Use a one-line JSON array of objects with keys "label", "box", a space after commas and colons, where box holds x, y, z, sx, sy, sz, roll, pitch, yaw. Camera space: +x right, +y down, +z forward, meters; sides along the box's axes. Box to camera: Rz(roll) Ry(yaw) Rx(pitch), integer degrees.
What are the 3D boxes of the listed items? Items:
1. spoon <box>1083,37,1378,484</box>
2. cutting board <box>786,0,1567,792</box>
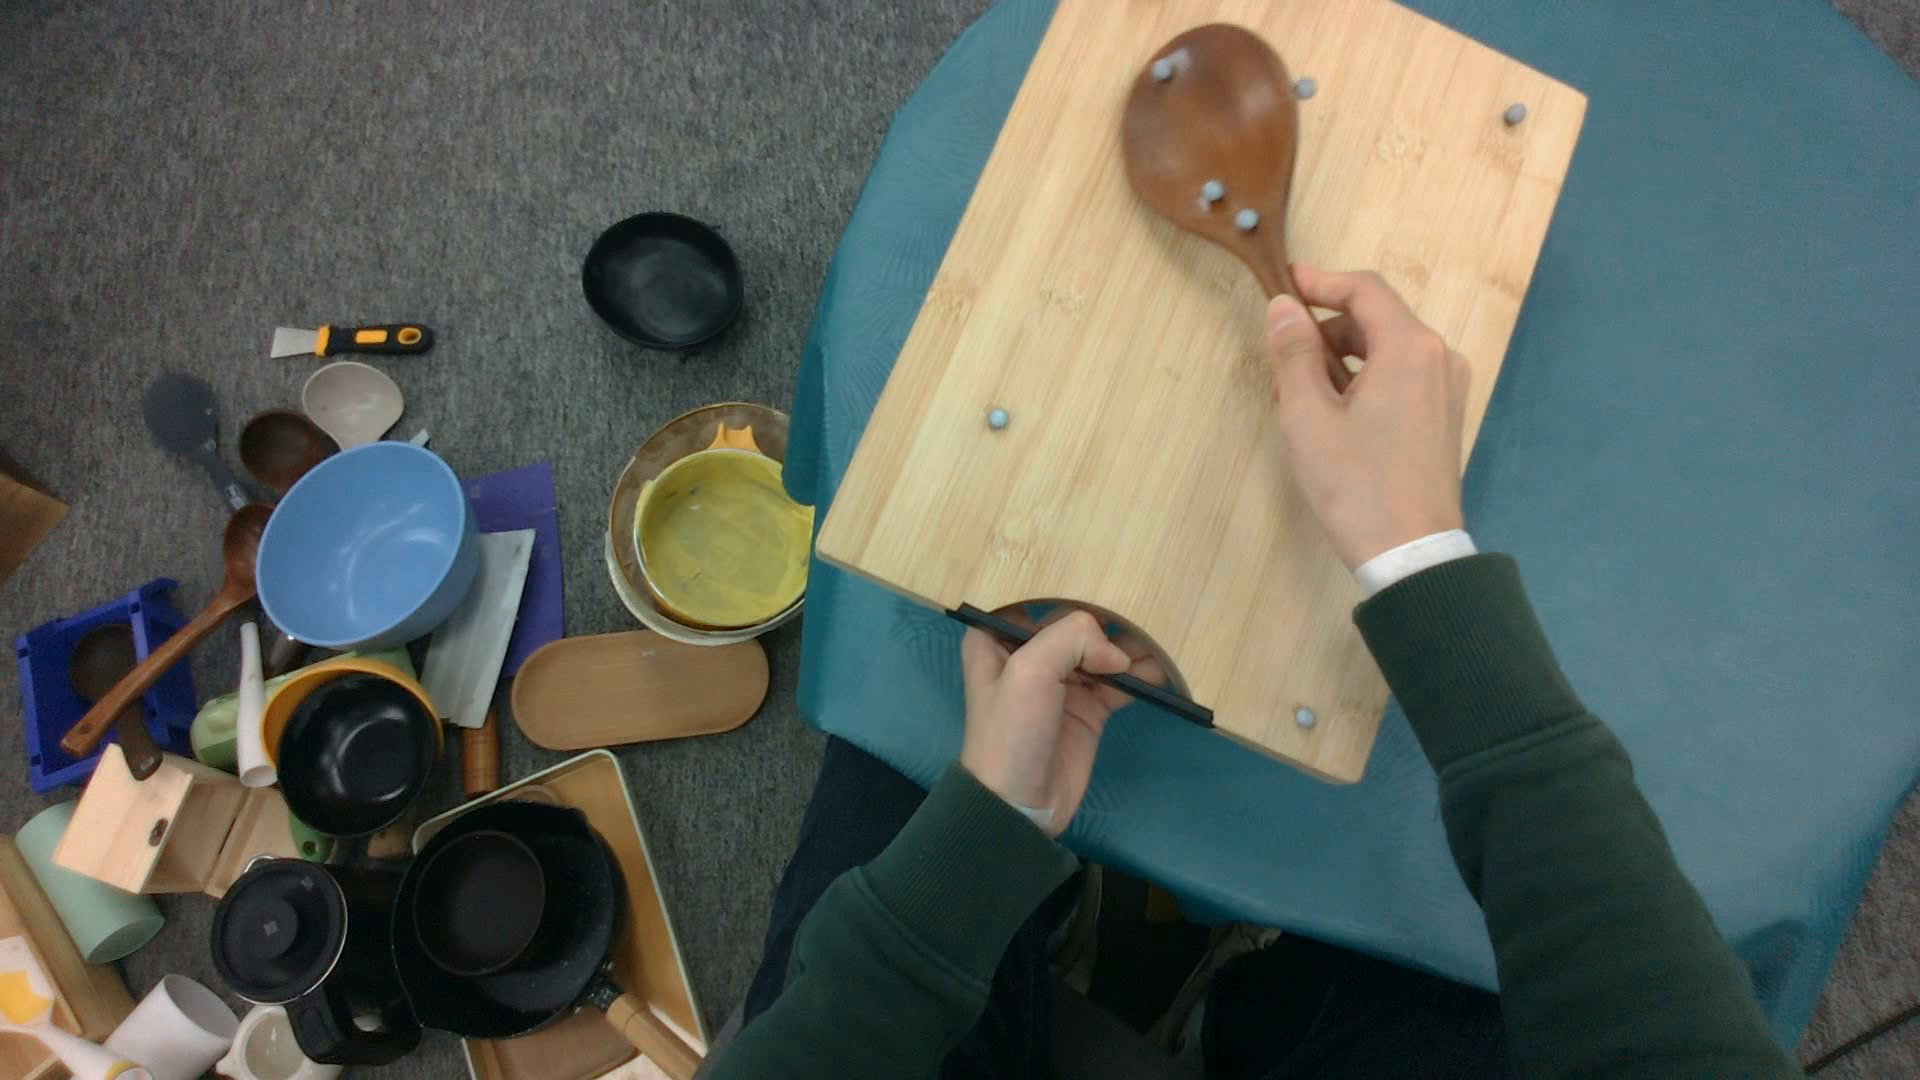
[{"label": "spoon", "box": [0.112, -0.117, 0.556, 0.075, 0.017, 0.216, -28, 66, 15]}, {"label": "cutting board", "box": [0.107, -0.097, 0.599, 0.251, 0.023, 0.349, 22, 75, -2]}]
